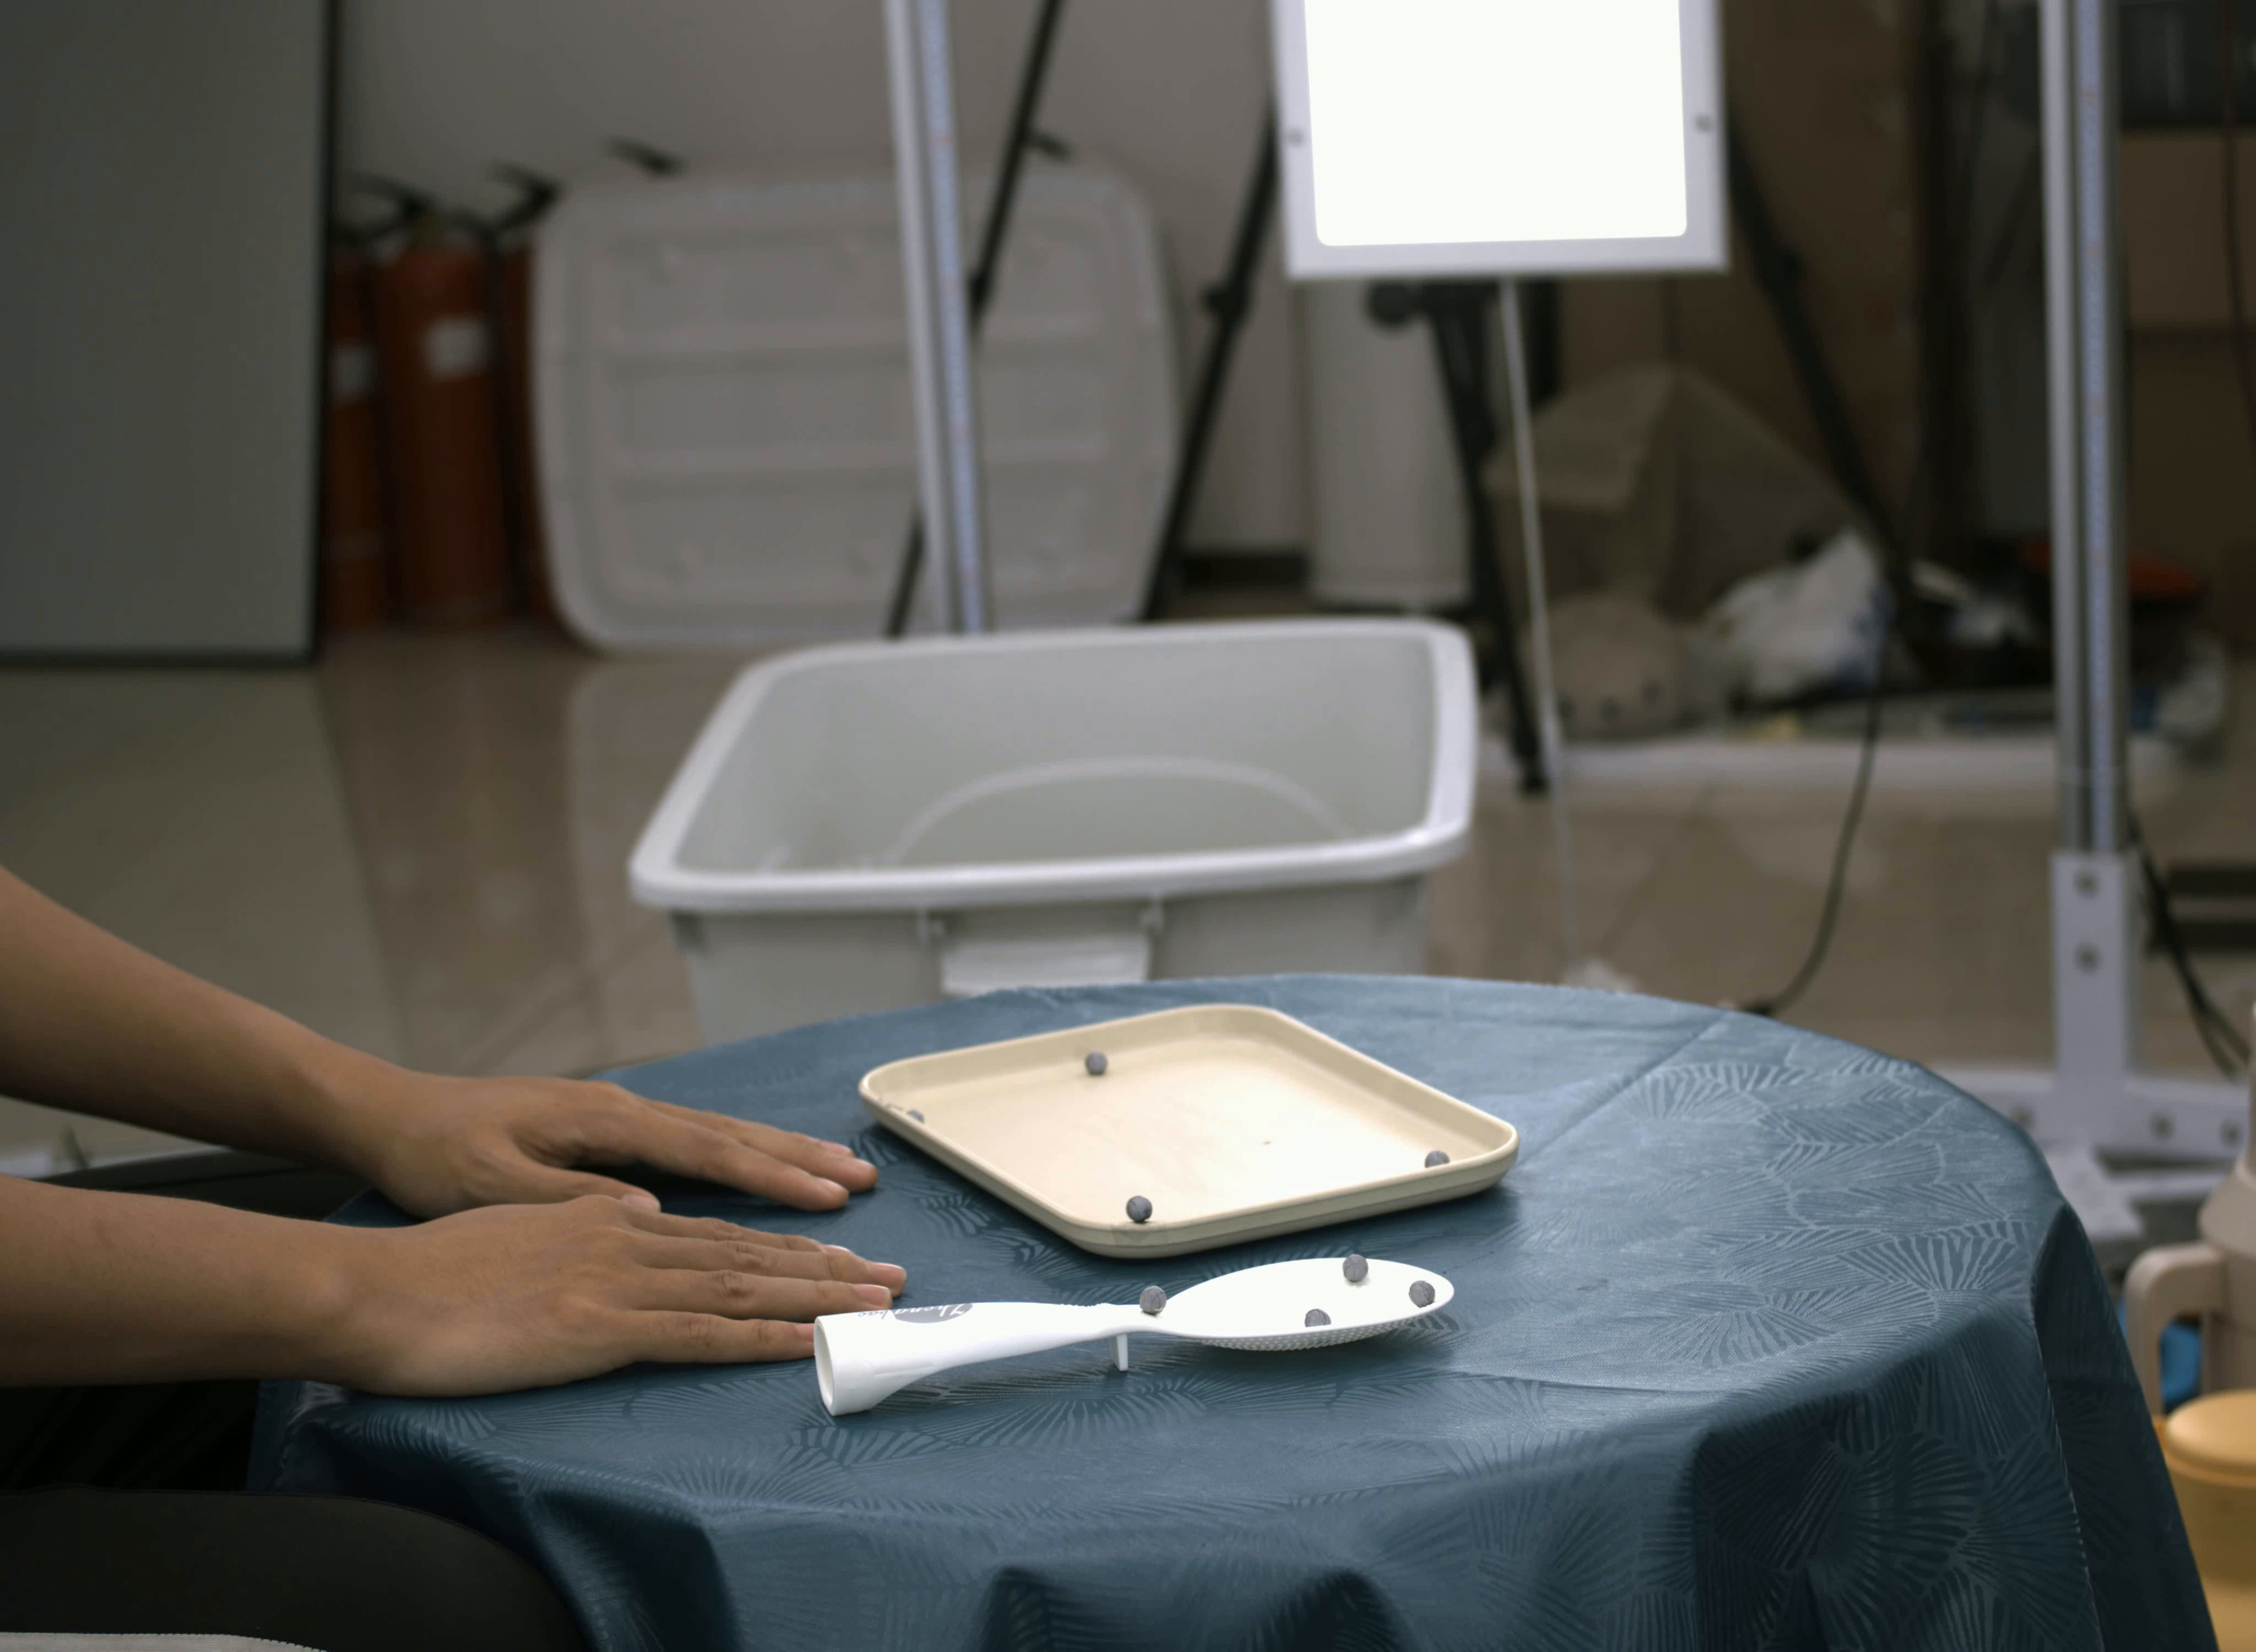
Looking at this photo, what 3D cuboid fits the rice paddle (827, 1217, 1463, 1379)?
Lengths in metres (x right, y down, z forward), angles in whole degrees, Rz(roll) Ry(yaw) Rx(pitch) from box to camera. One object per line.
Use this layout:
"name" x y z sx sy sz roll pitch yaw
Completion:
"rice paddle" 0.008 0.143 1.733 0.203 0.029 0.069 -8 15 -11

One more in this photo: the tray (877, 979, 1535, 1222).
"tray" 0.025 0.096 1.951 0.168 0.017 0.243 -10 14 -22
